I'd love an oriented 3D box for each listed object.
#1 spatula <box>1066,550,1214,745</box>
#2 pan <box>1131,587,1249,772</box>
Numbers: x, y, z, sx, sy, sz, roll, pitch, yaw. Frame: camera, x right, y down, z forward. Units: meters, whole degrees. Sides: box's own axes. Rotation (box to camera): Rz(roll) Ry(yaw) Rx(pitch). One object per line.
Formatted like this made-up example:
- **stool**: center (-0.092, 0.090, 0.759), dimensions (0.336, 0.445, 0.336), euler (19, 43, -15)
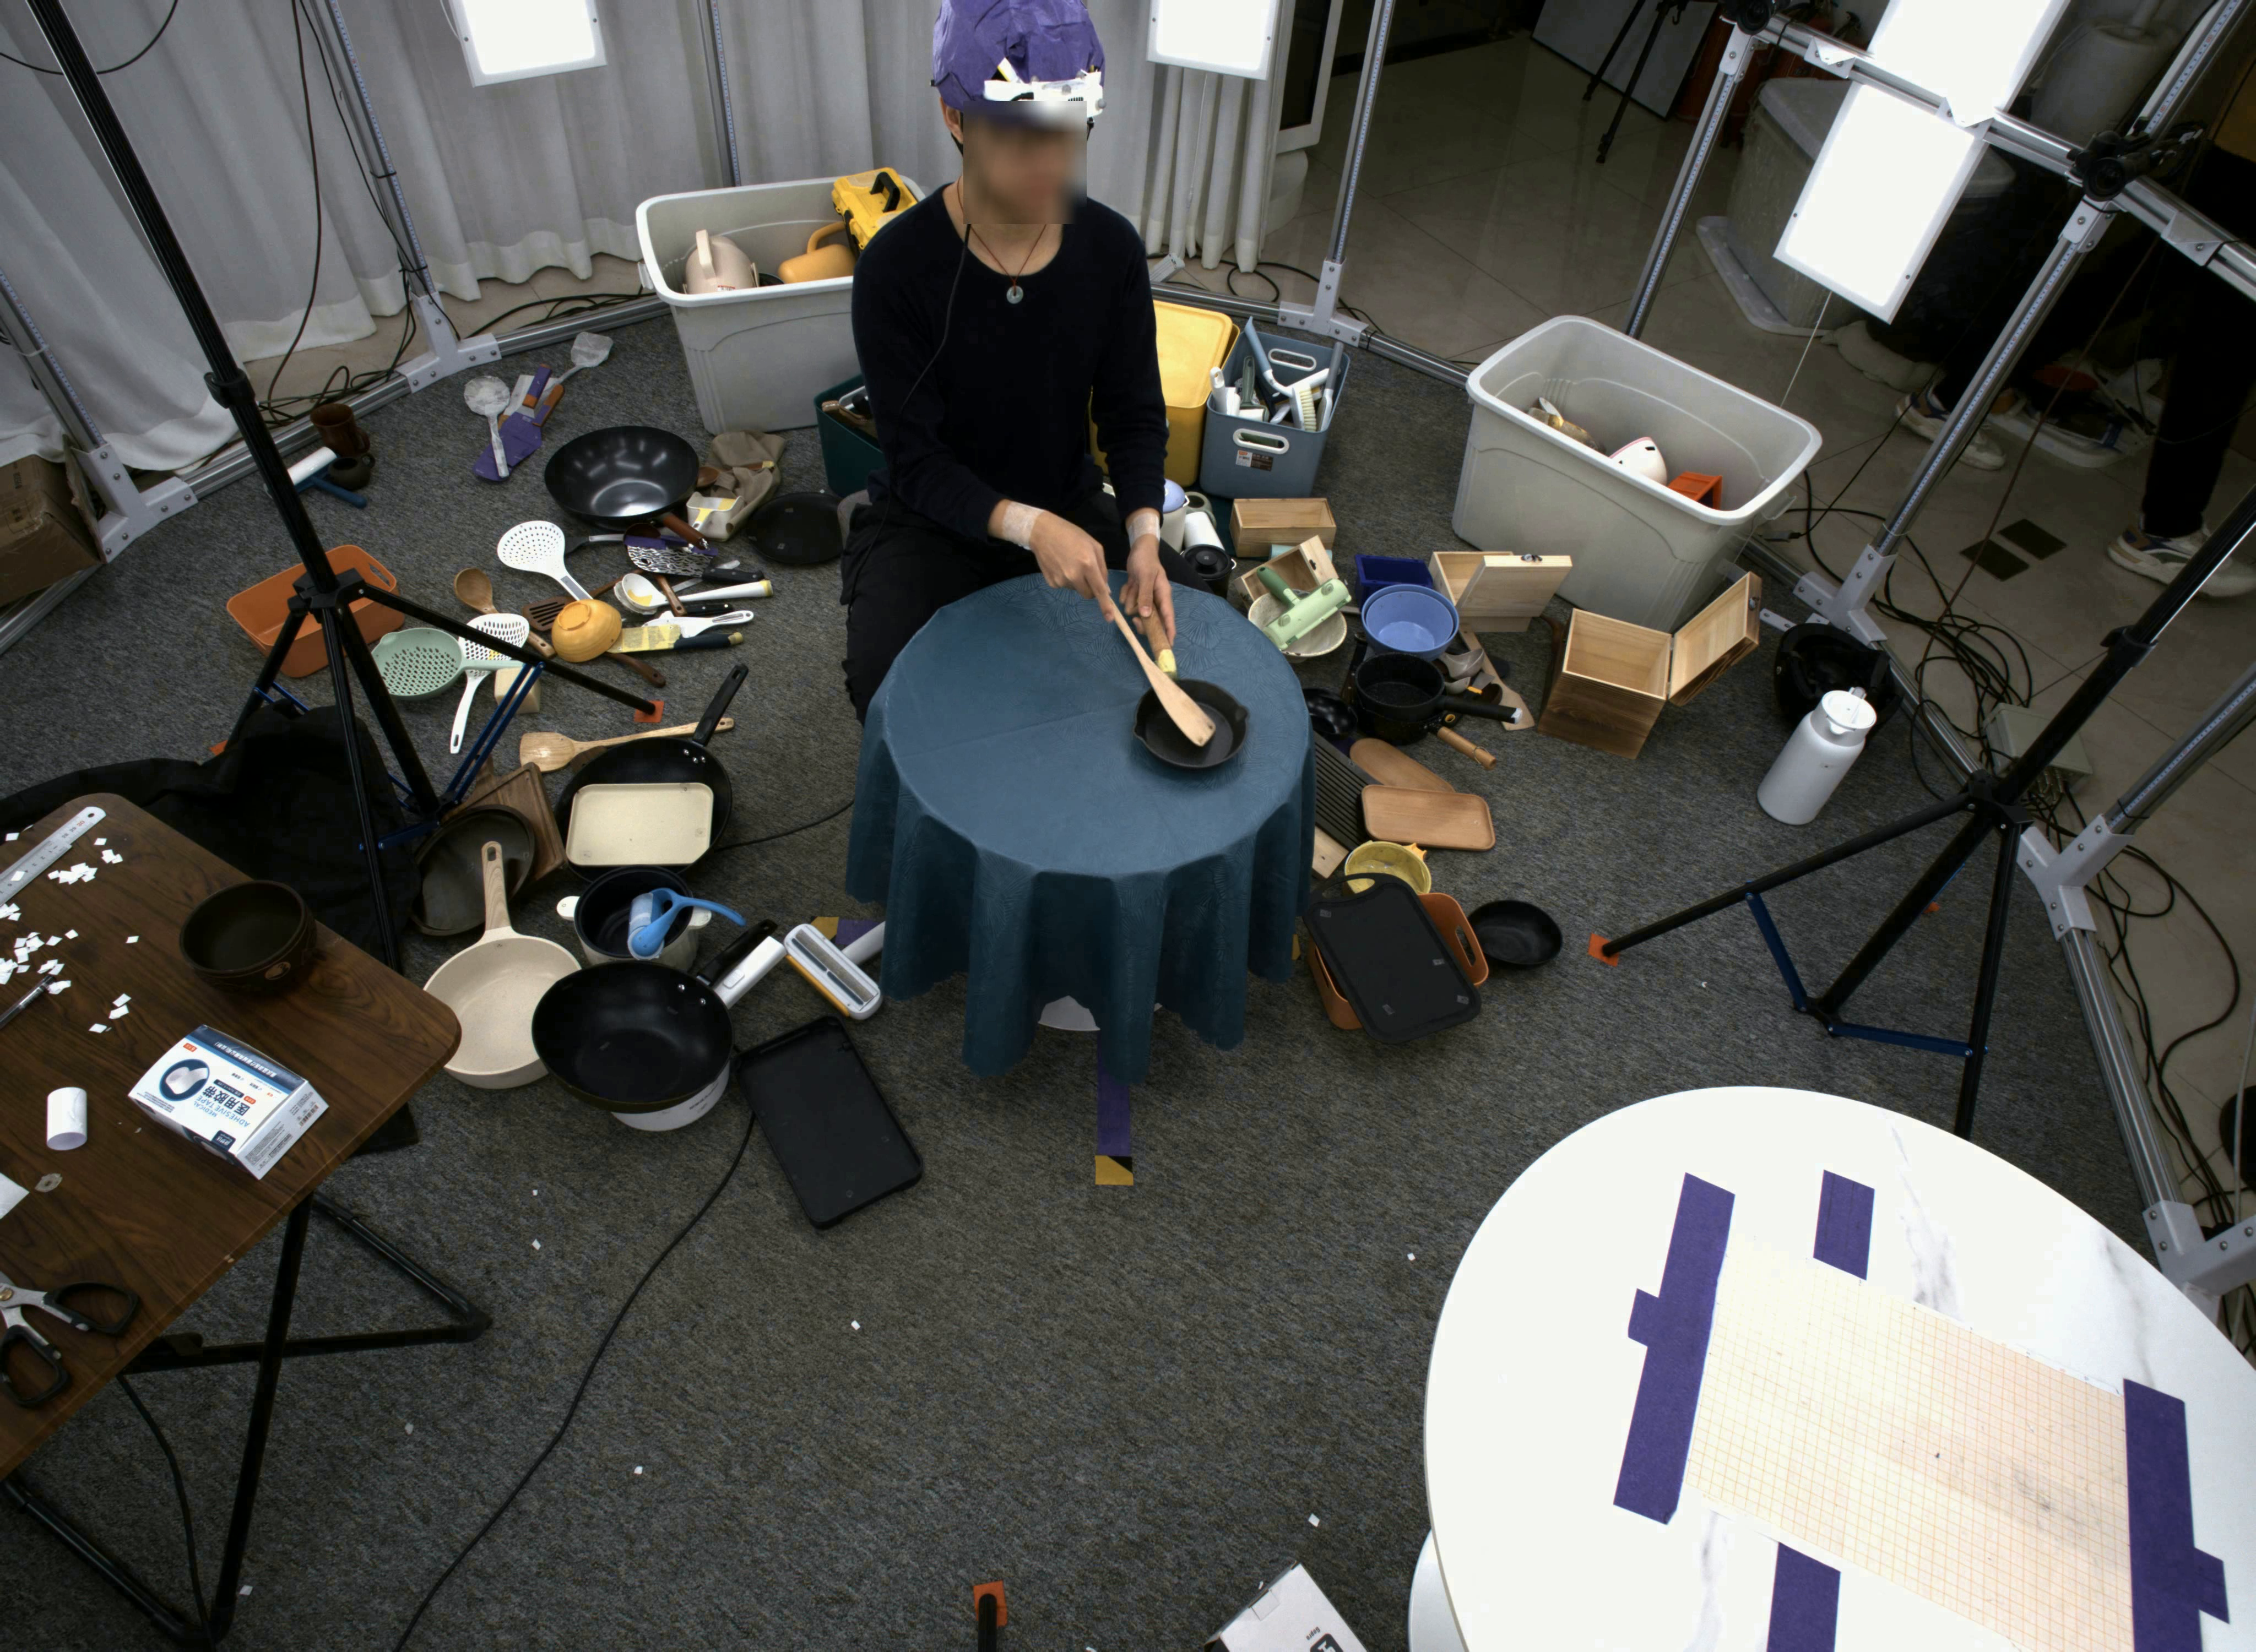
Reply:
- **spatula**: center (0.015, -0.250, 1.772), dimensions (0.328, 0.016, 0.080), euler (55, 33, 4)
- **pan**: center (0.064, -0.207, 1.807), dimensions (0.169, 0.048, 0.332), euler (-9, 56, -12)
